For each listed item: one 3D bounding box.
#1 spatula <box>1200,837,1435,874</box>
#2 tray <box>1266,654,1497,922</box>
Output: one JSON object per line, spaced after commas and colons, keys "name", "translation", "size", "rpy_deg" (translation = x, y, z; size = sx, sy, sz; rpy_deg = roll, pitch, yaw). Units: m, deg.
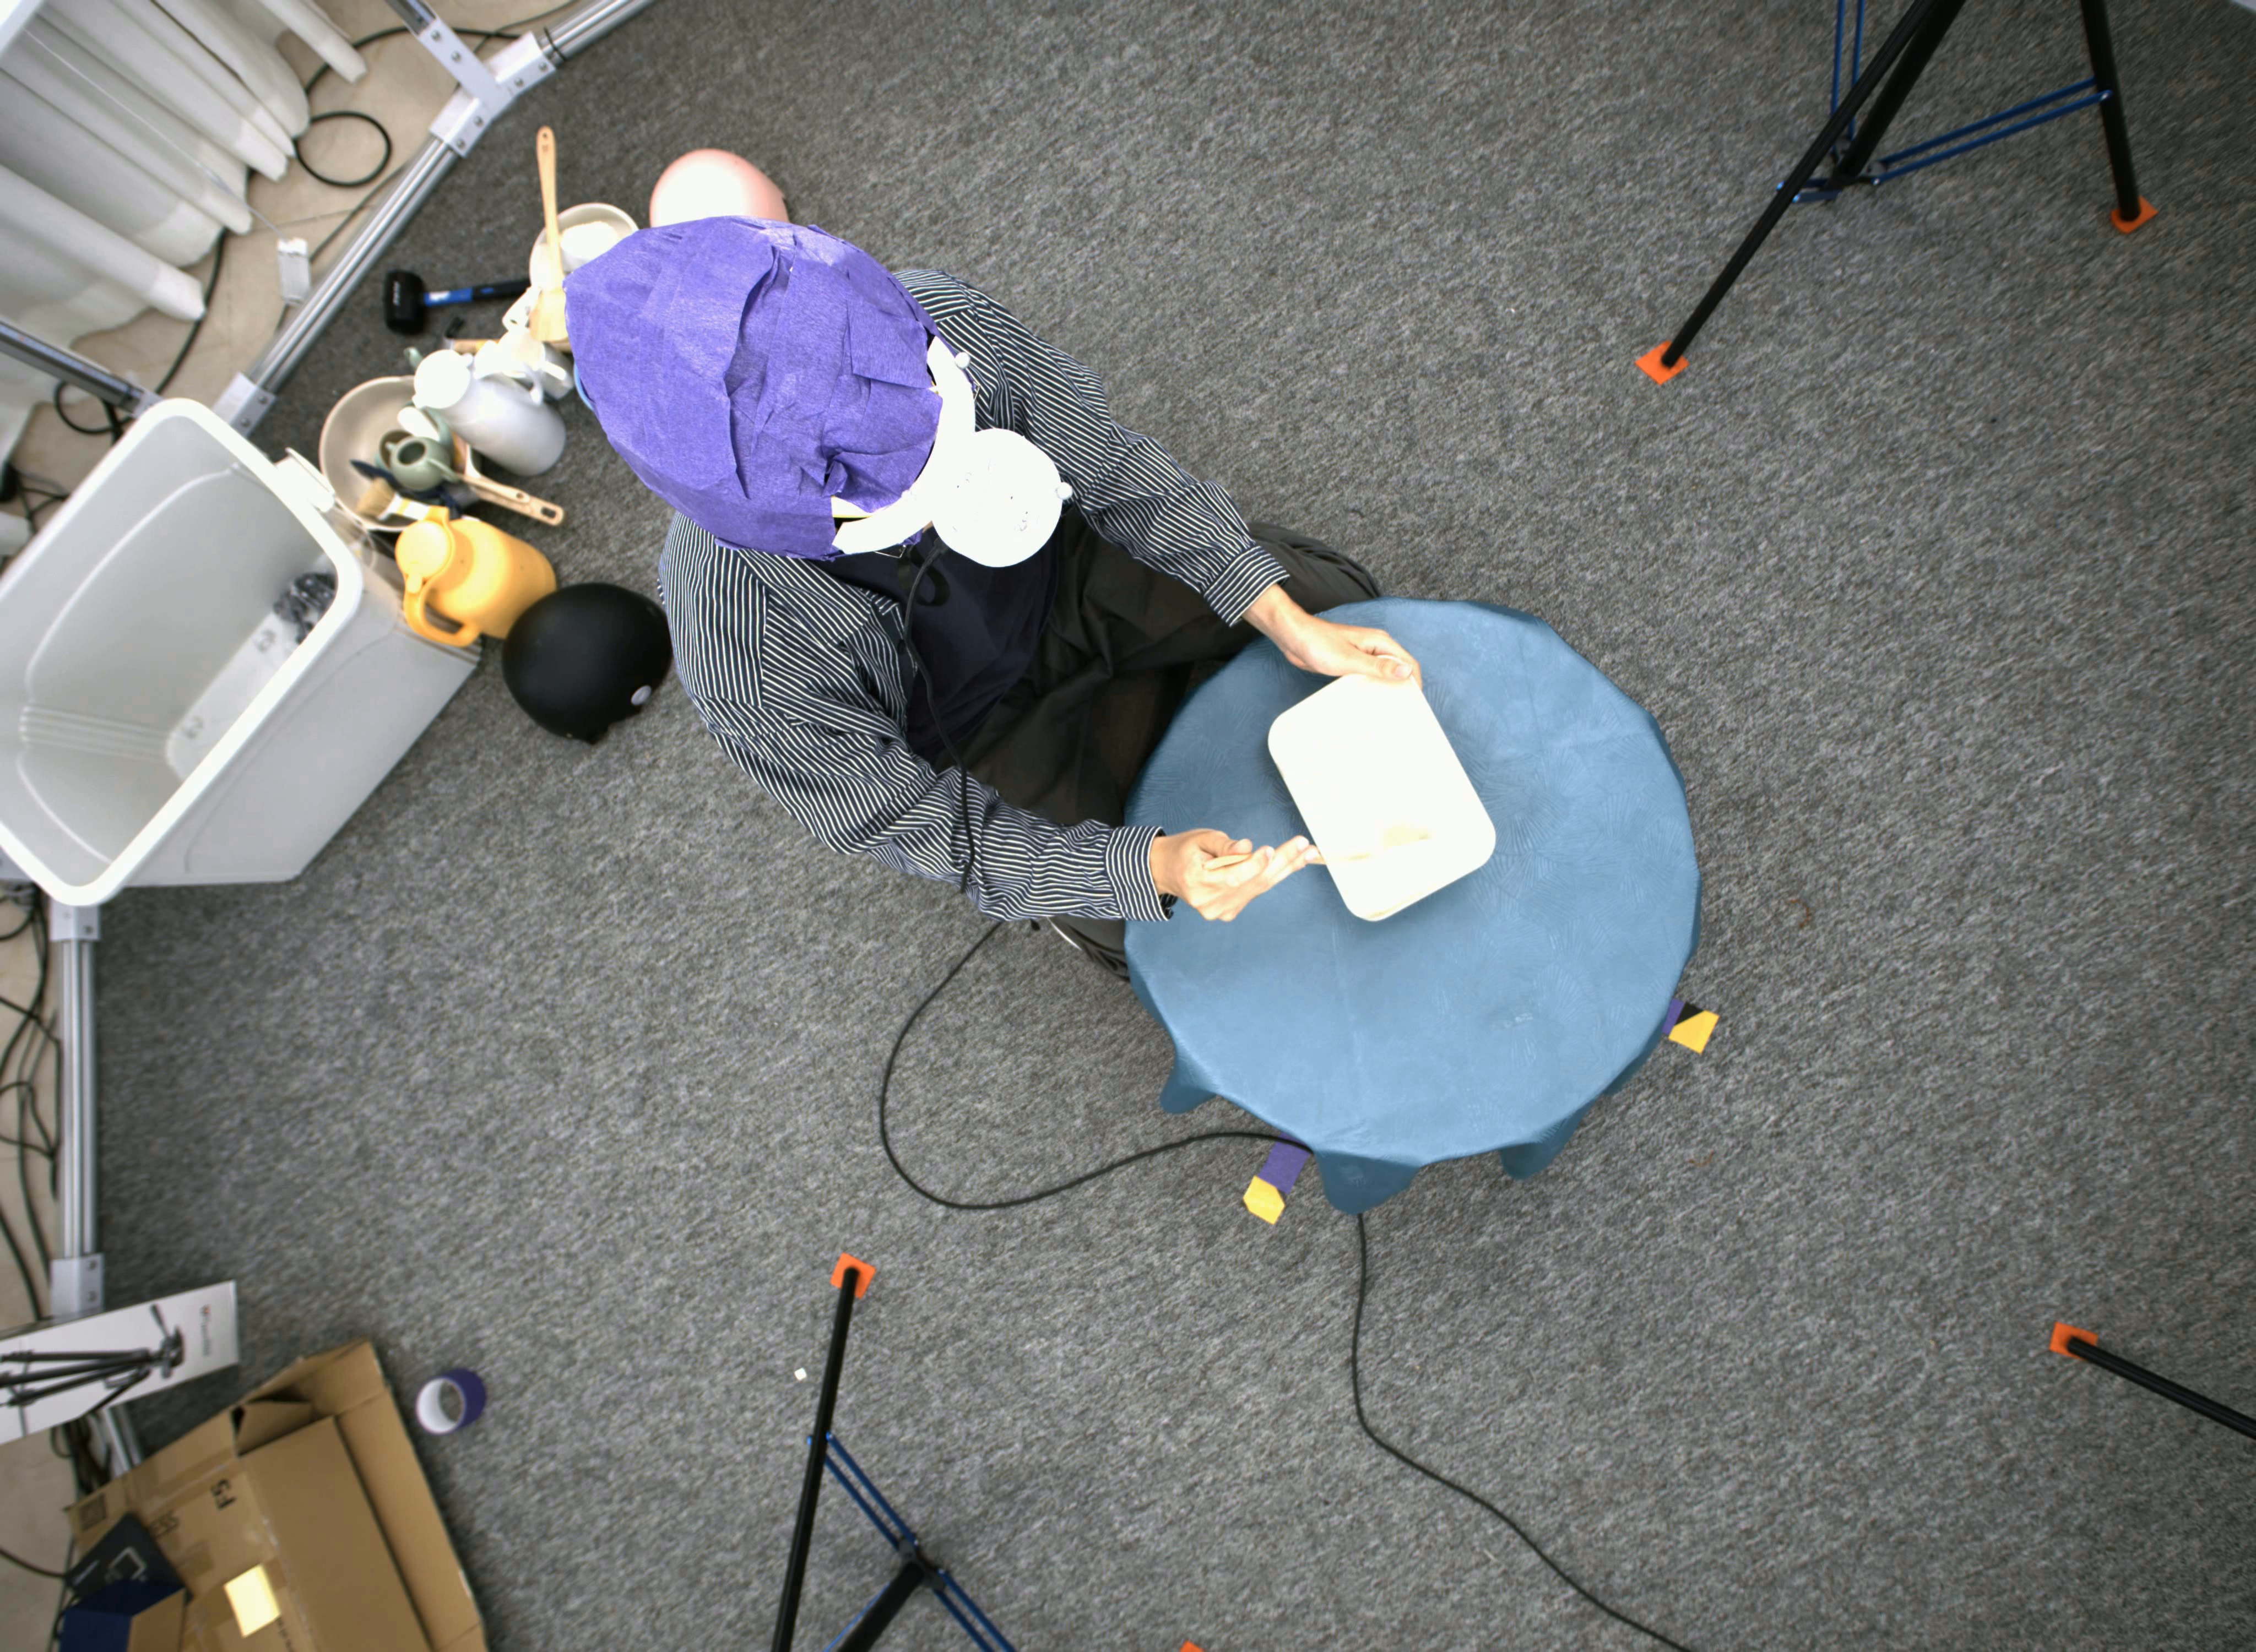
{"name": "spatula", "translation": [0.170, 0.028, 1.252], "size": [0.081, 0.325, 0.016], "rpy_deg": [-22, 76, 40]}
{"name": "tray", "translation": [0.251, -0.039, 1.378], "size": [0.174, 0.017, 0.237], "rpy_deg": [-31, 77, 26]}
